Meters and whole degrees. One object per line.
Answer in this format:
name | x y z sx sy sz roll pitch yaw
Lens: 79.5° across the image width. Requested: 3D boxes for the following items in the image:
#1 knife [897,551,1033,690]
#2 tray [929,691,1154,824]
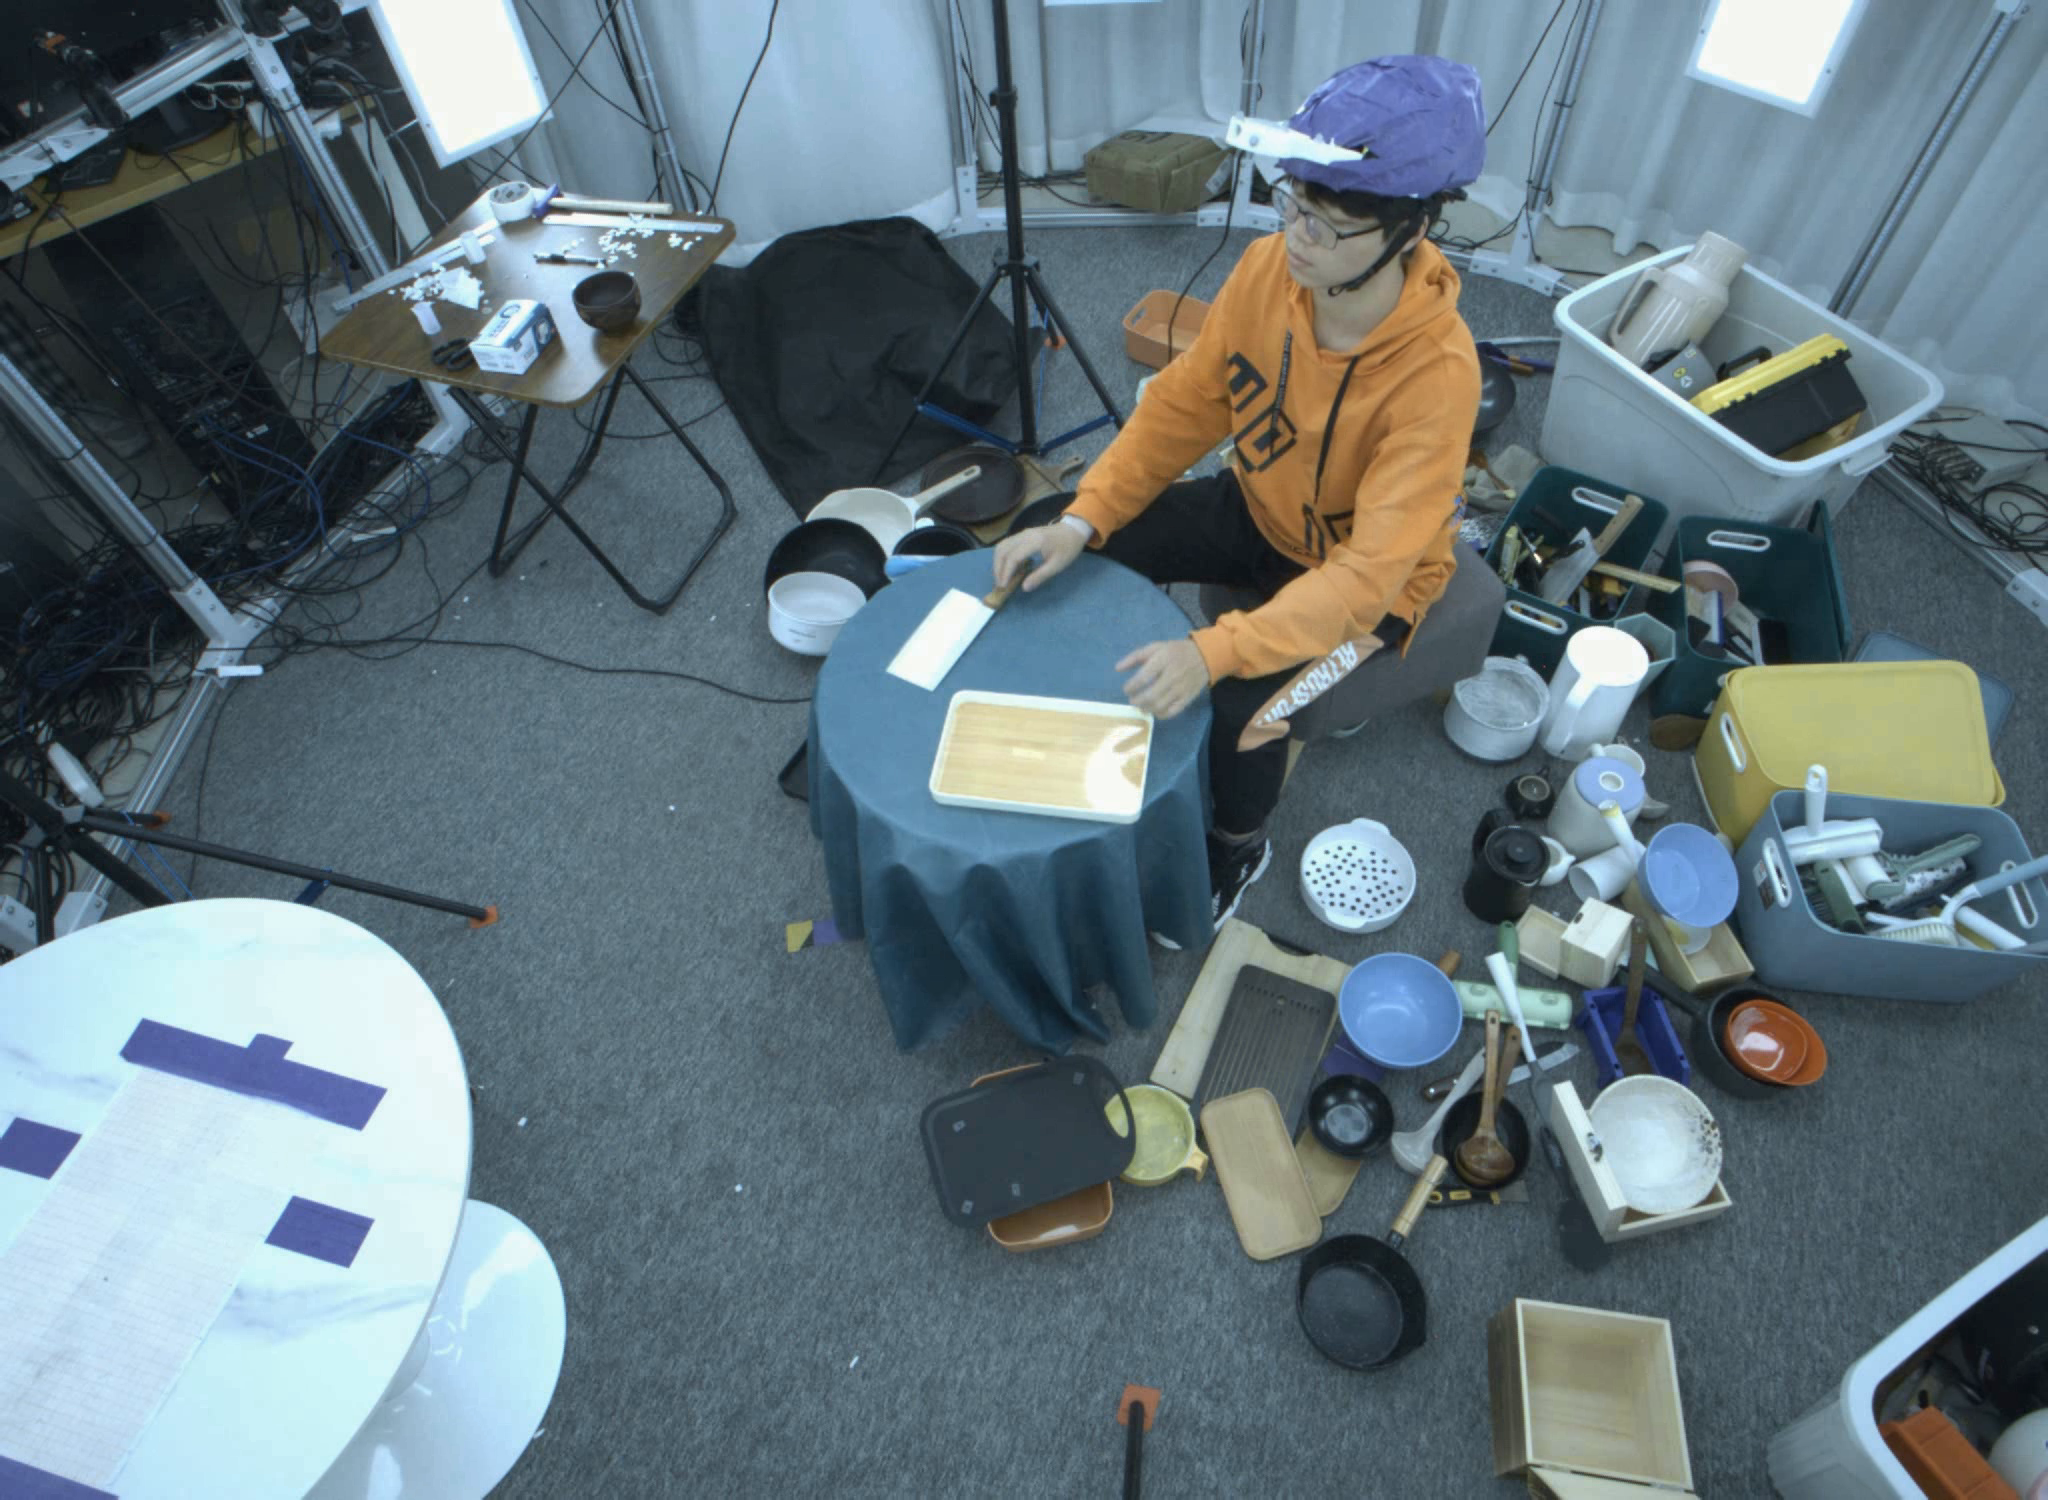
knife | -0.096 -0.216 1.934 0.091 0.021 0.306 25 62 20
tray | 0.028 0.008 1.764 0.299 0.028 0.190 6 55 7
